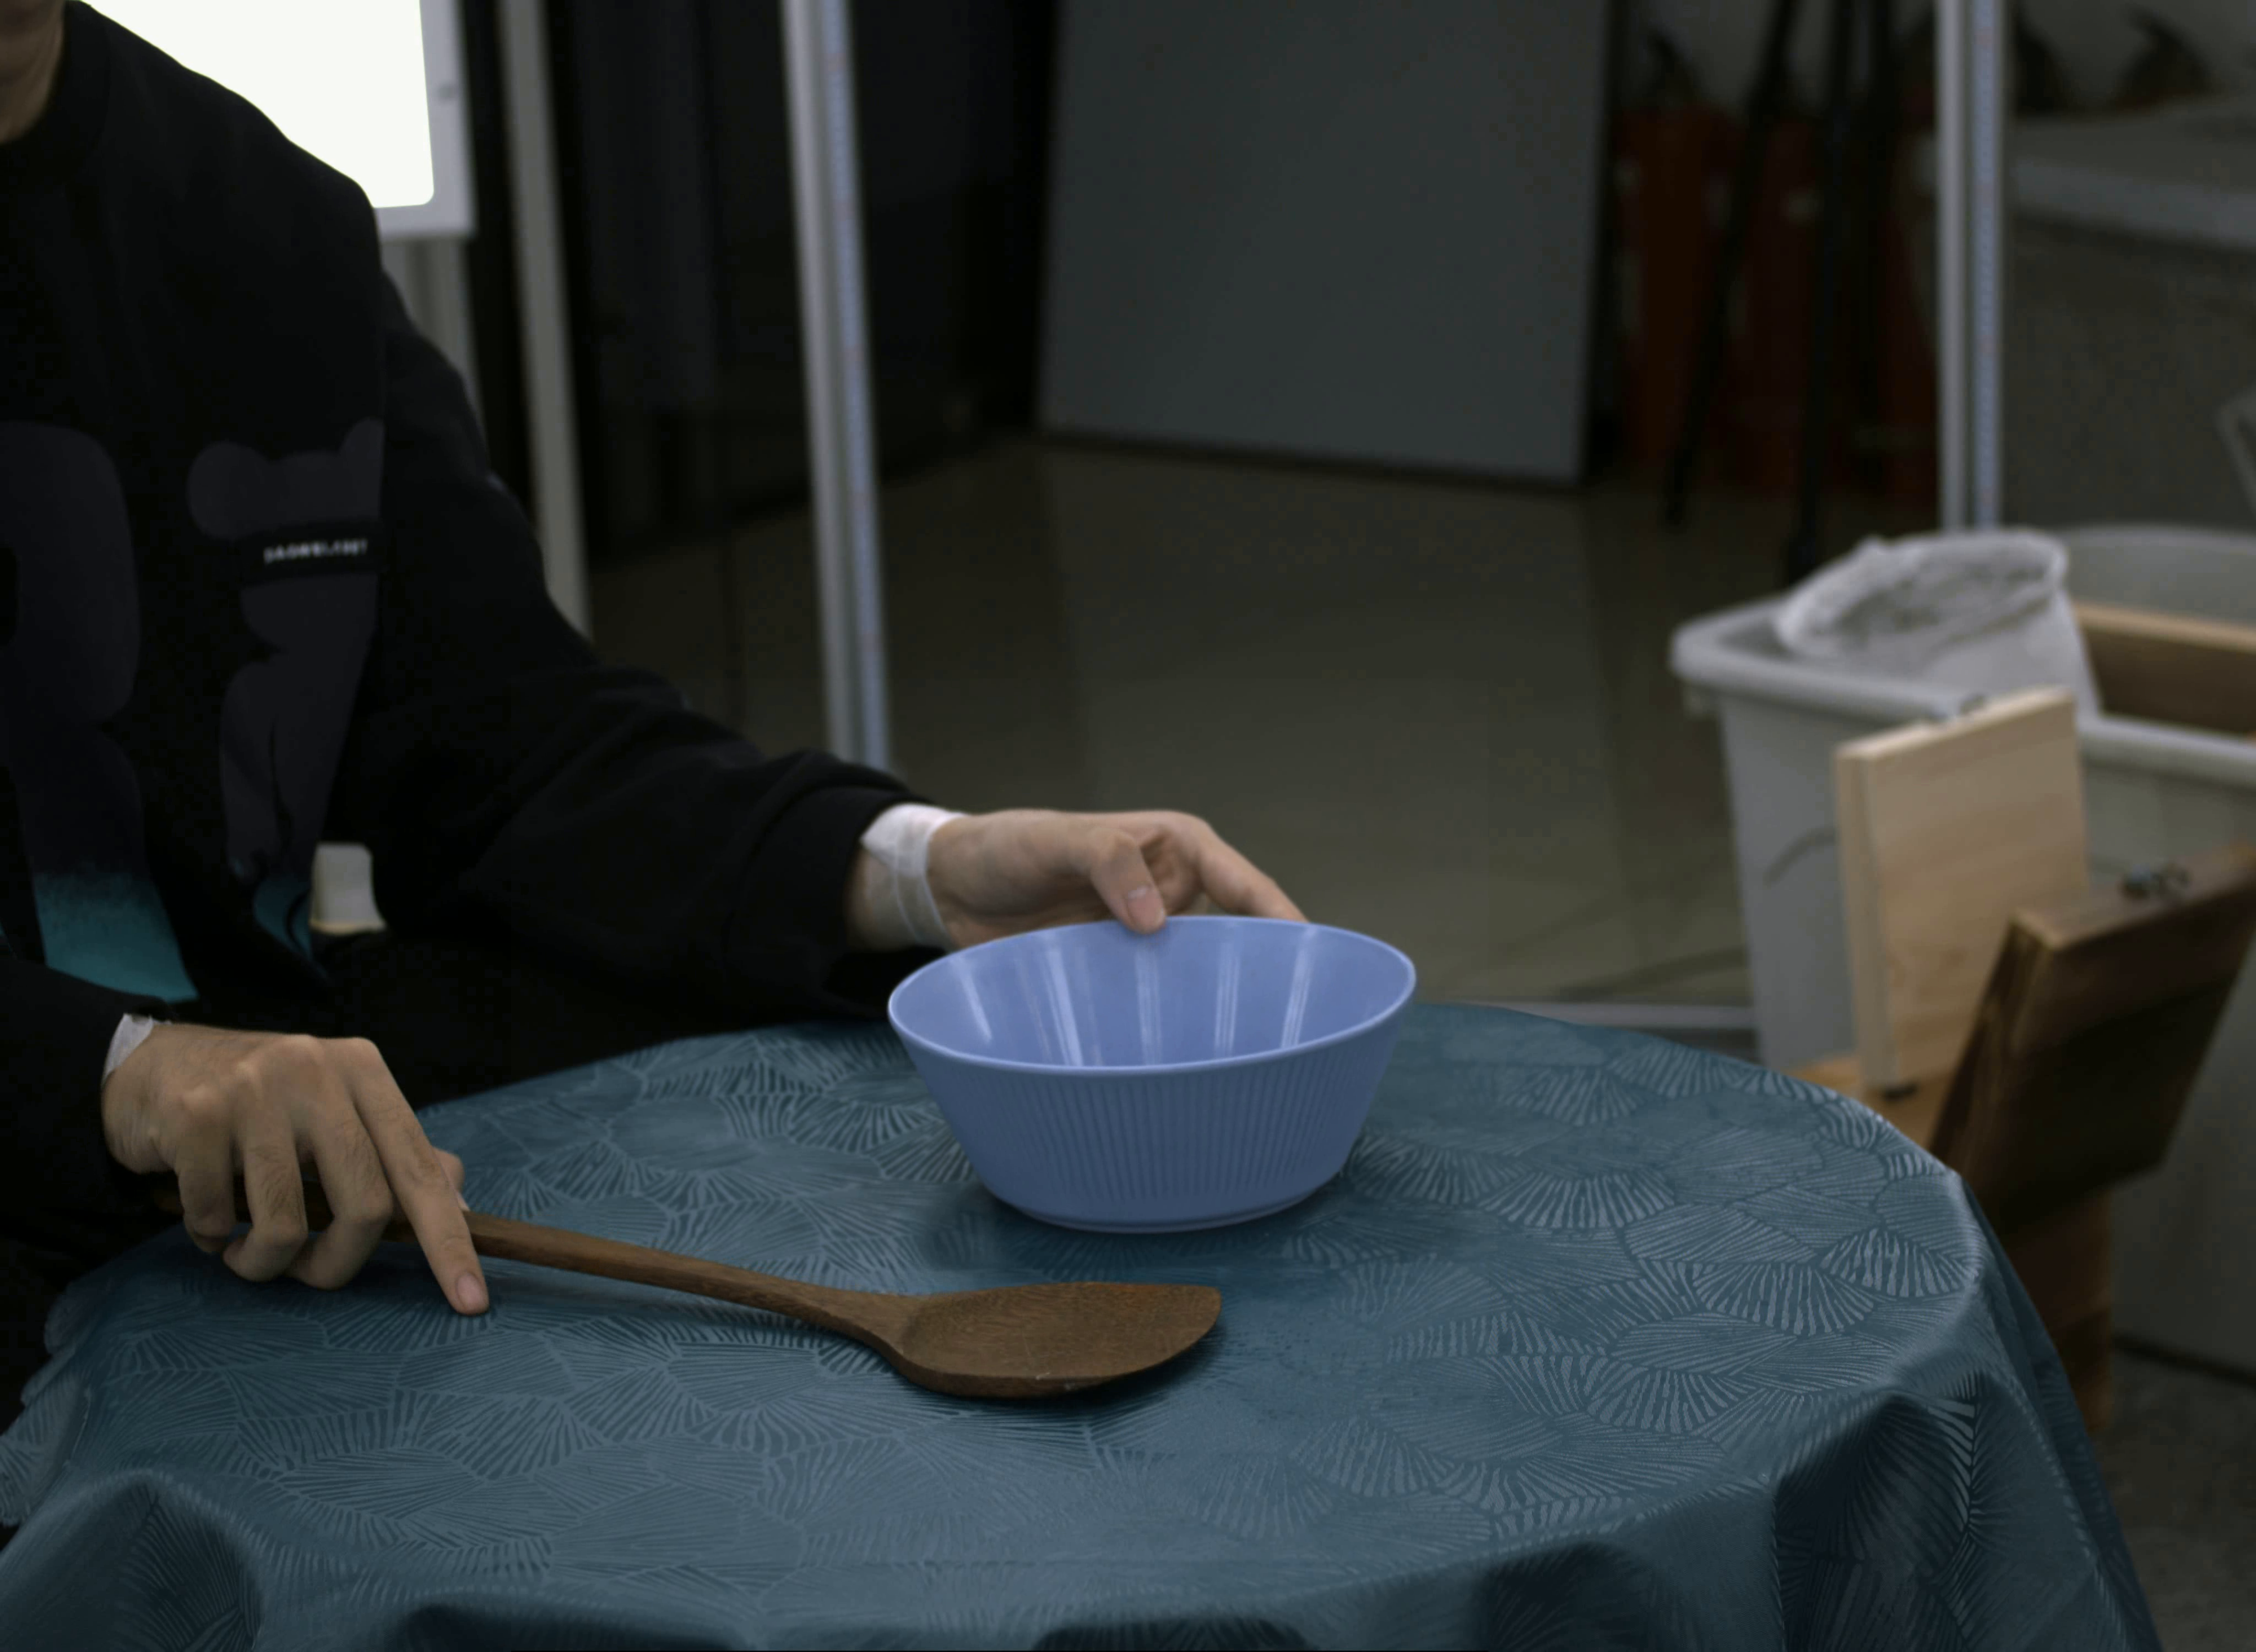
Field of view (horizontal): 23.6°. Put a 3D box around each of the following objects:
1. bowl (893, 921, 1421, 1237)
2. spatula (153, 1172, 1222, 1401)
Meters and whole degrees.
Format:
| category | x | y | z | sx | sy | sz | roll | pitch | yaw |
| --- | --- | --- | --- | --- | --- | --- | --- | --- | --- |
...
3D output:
| category | x | y | z | sx | sy | sz | roll | pitch | yaw |
| --- | --- | --- | --- | --- | --- | --- | --- | --- | --- |
| bowl | 0.012 | 0.085 | 1.768 | 0.174 | 0.071 | 0.176 | -5 | 13 | 0 |
| spatula | -0.150 | 0.139 | 1.689 | 0.387 | 0.016 | 0.094 | 7 | 17 | 29 |
